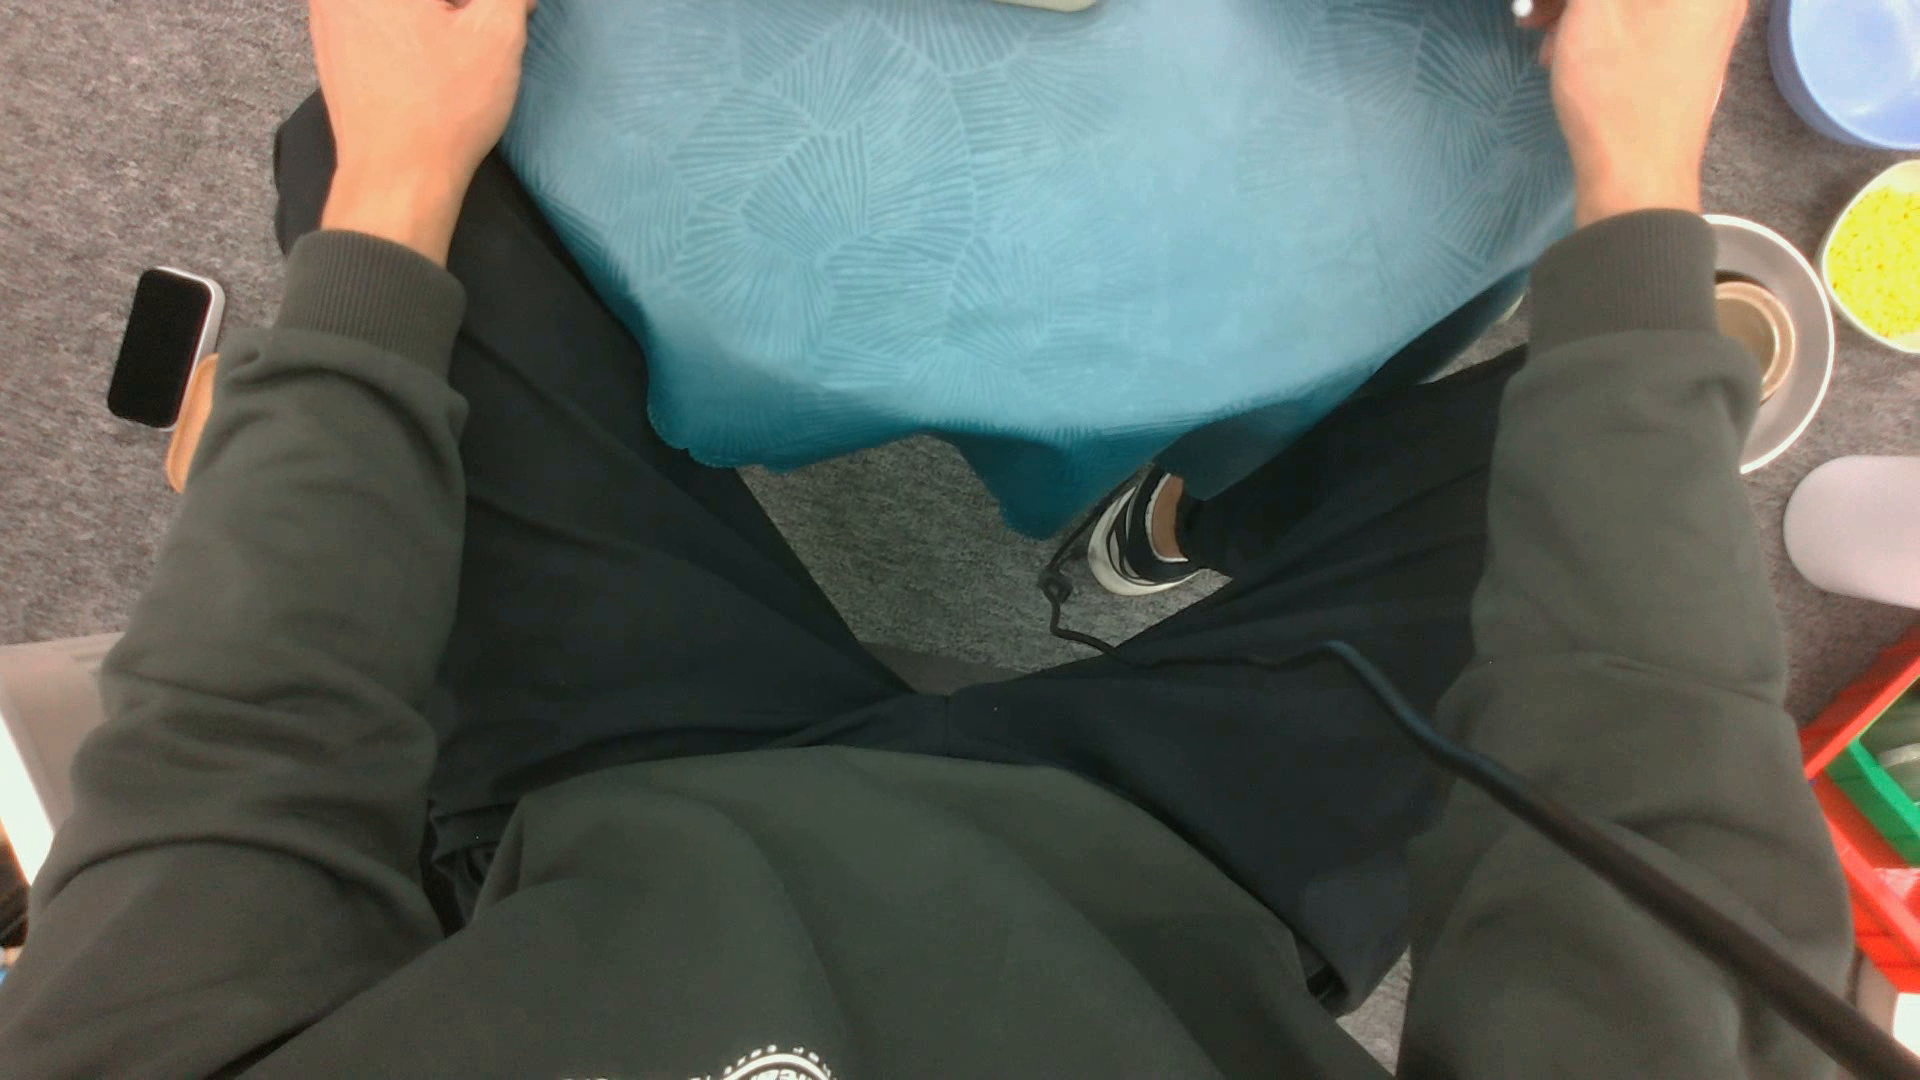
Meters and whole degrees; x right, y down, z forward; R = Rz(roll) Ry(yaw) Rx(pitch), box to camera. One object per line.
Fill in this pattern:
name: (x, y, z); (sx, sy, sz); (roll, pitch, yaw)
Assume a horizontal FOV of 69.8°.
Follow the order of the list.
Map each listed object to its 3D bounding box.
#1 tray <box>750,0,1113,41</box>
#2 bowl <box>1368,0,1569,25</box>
tray: (-0.072, -0.329, 0.590); (0.300, 0.027, 0.191); (7, 94, -1)
bowl: (0.197, -0.282, 0.578); (0.170, 0.067, 0.137); (29, 92, 0)
